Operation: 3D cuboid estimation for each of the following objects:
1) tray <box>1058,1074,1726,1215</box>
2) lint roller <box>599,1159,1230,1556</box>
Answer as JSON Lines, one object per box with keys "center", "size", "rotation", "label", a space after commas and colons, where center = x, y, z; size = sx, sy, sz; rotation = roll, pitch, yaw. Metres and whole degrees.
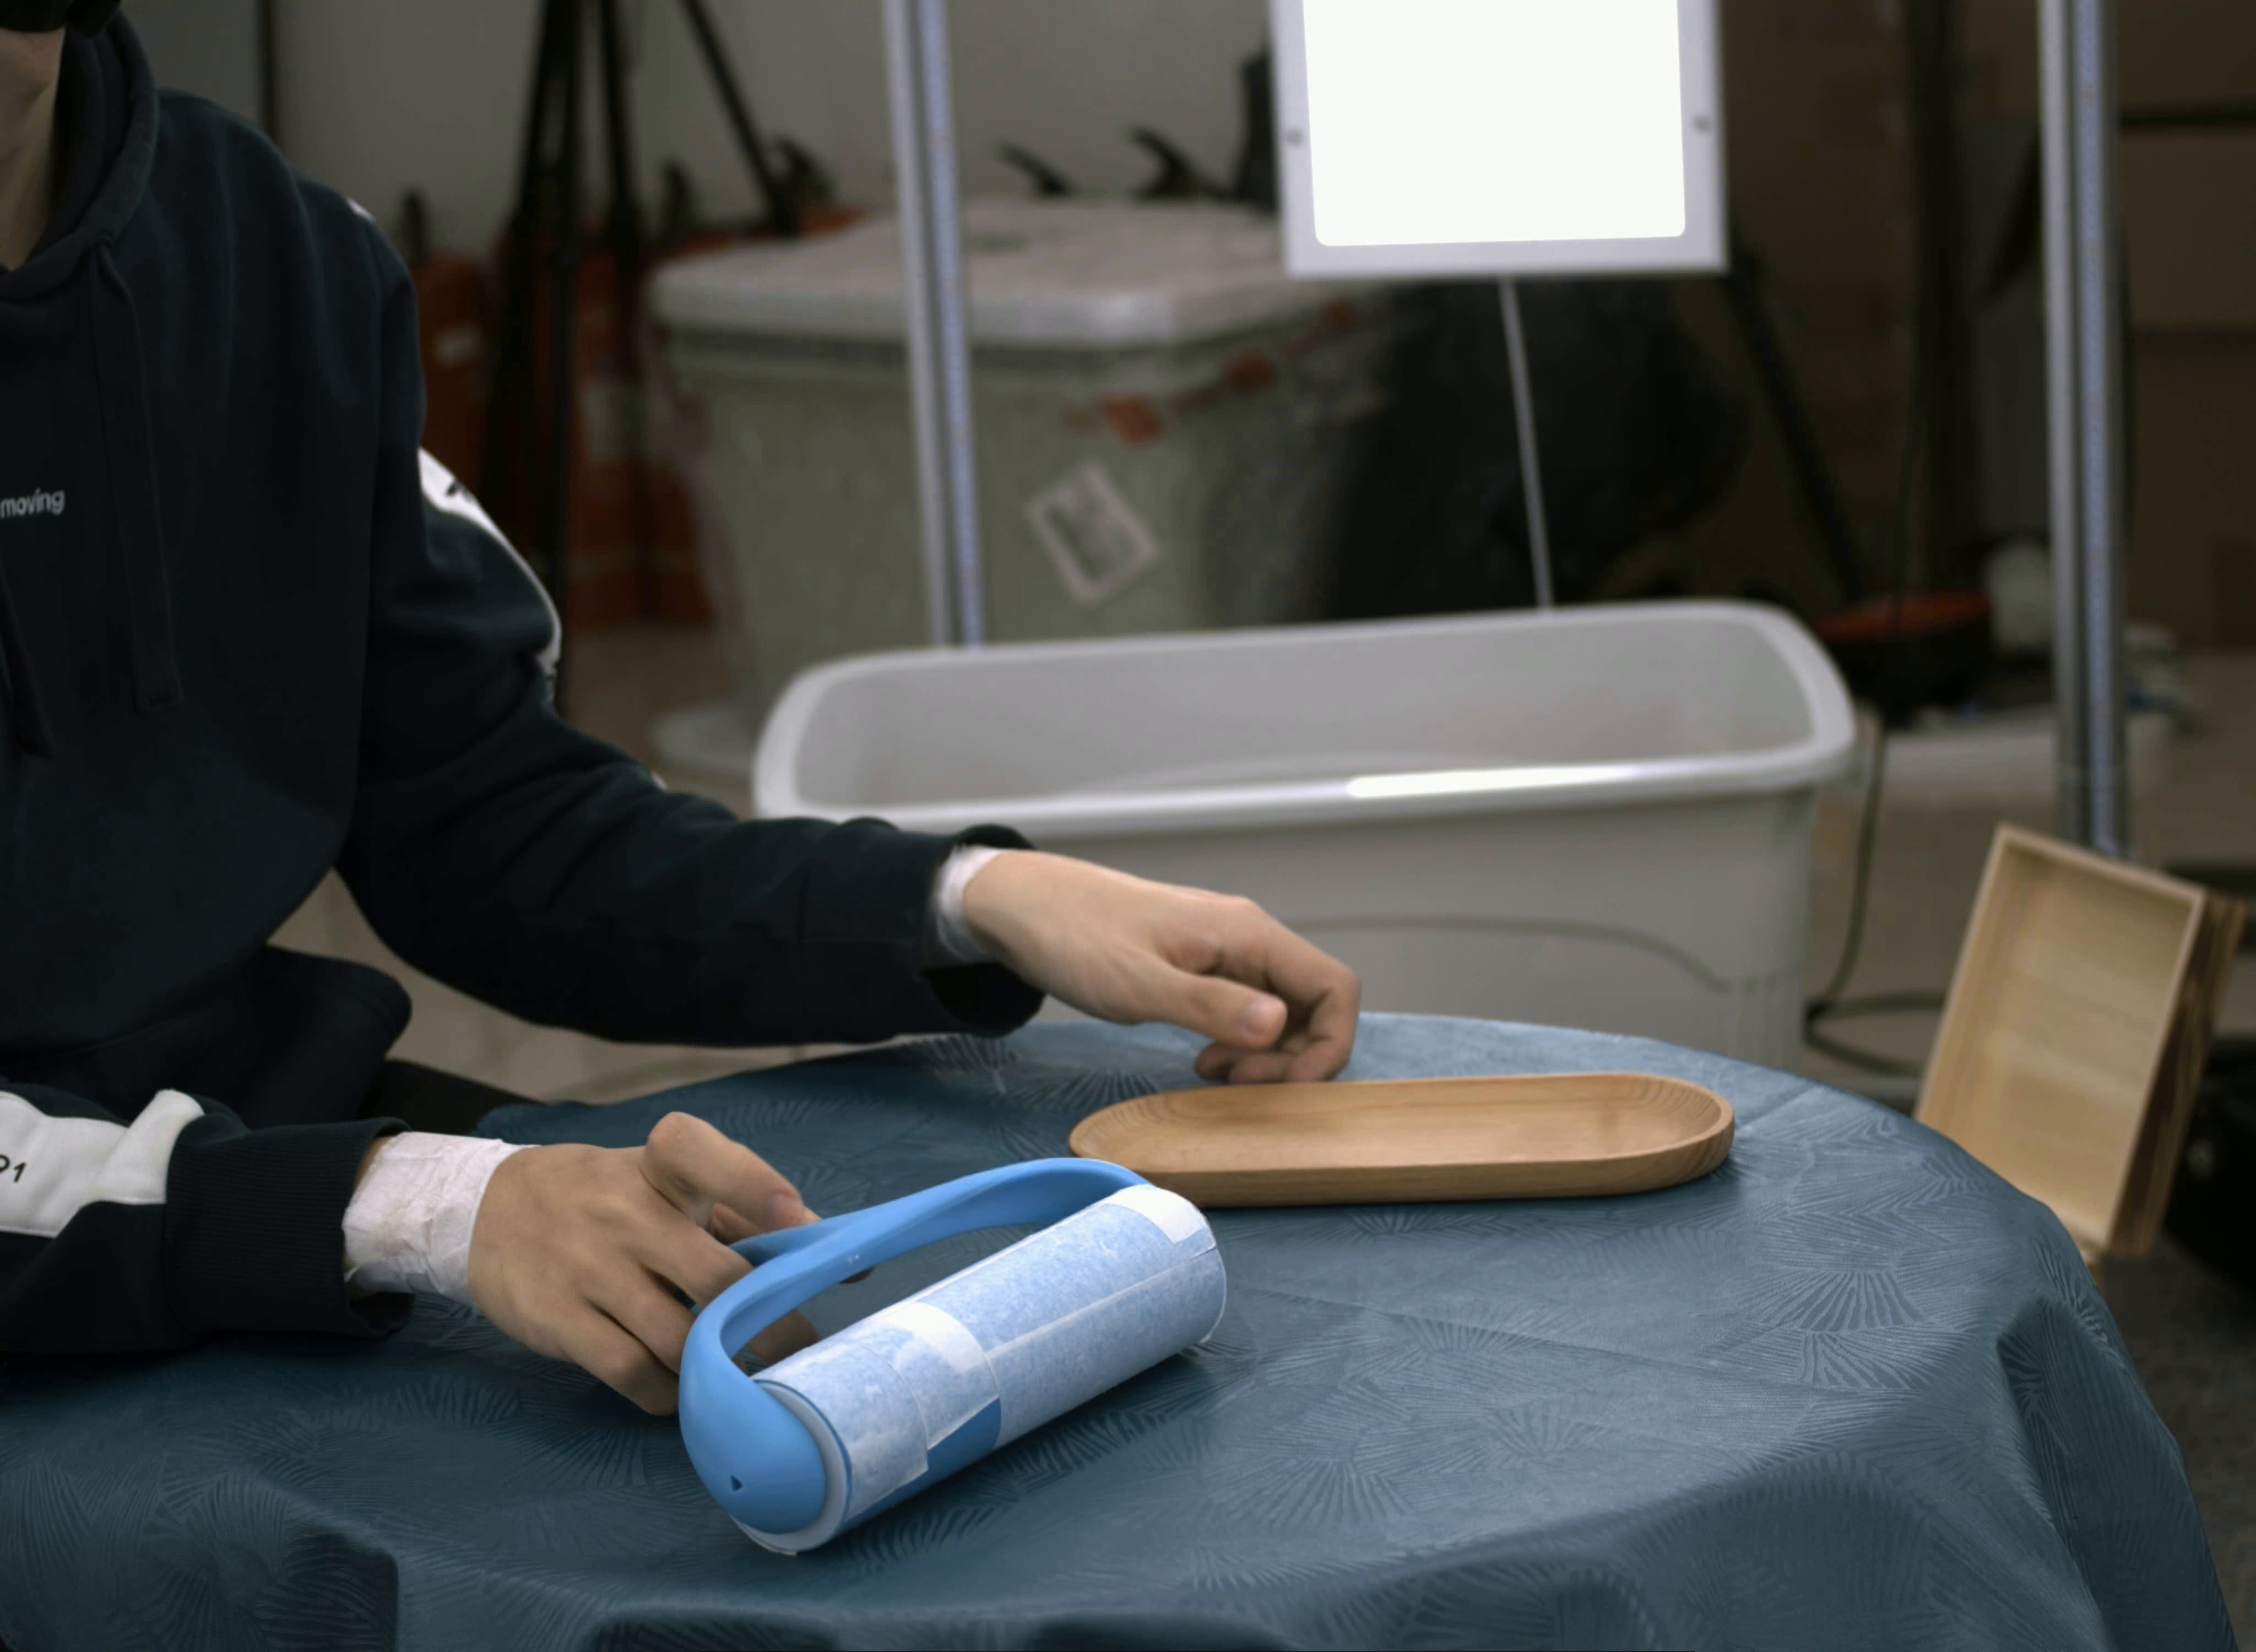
{"center": [0.091, 0.110, 1.895], "size": [0.232, 0.020, 0.101], "rotation": [-5, 12, 10], "label": "tray"}
{"center": [-0.094, 0.155, 1.691], "size": [0.184, 0.068, 0.223], "rotation": [6, 19, 34], "label": "lint roller"}
